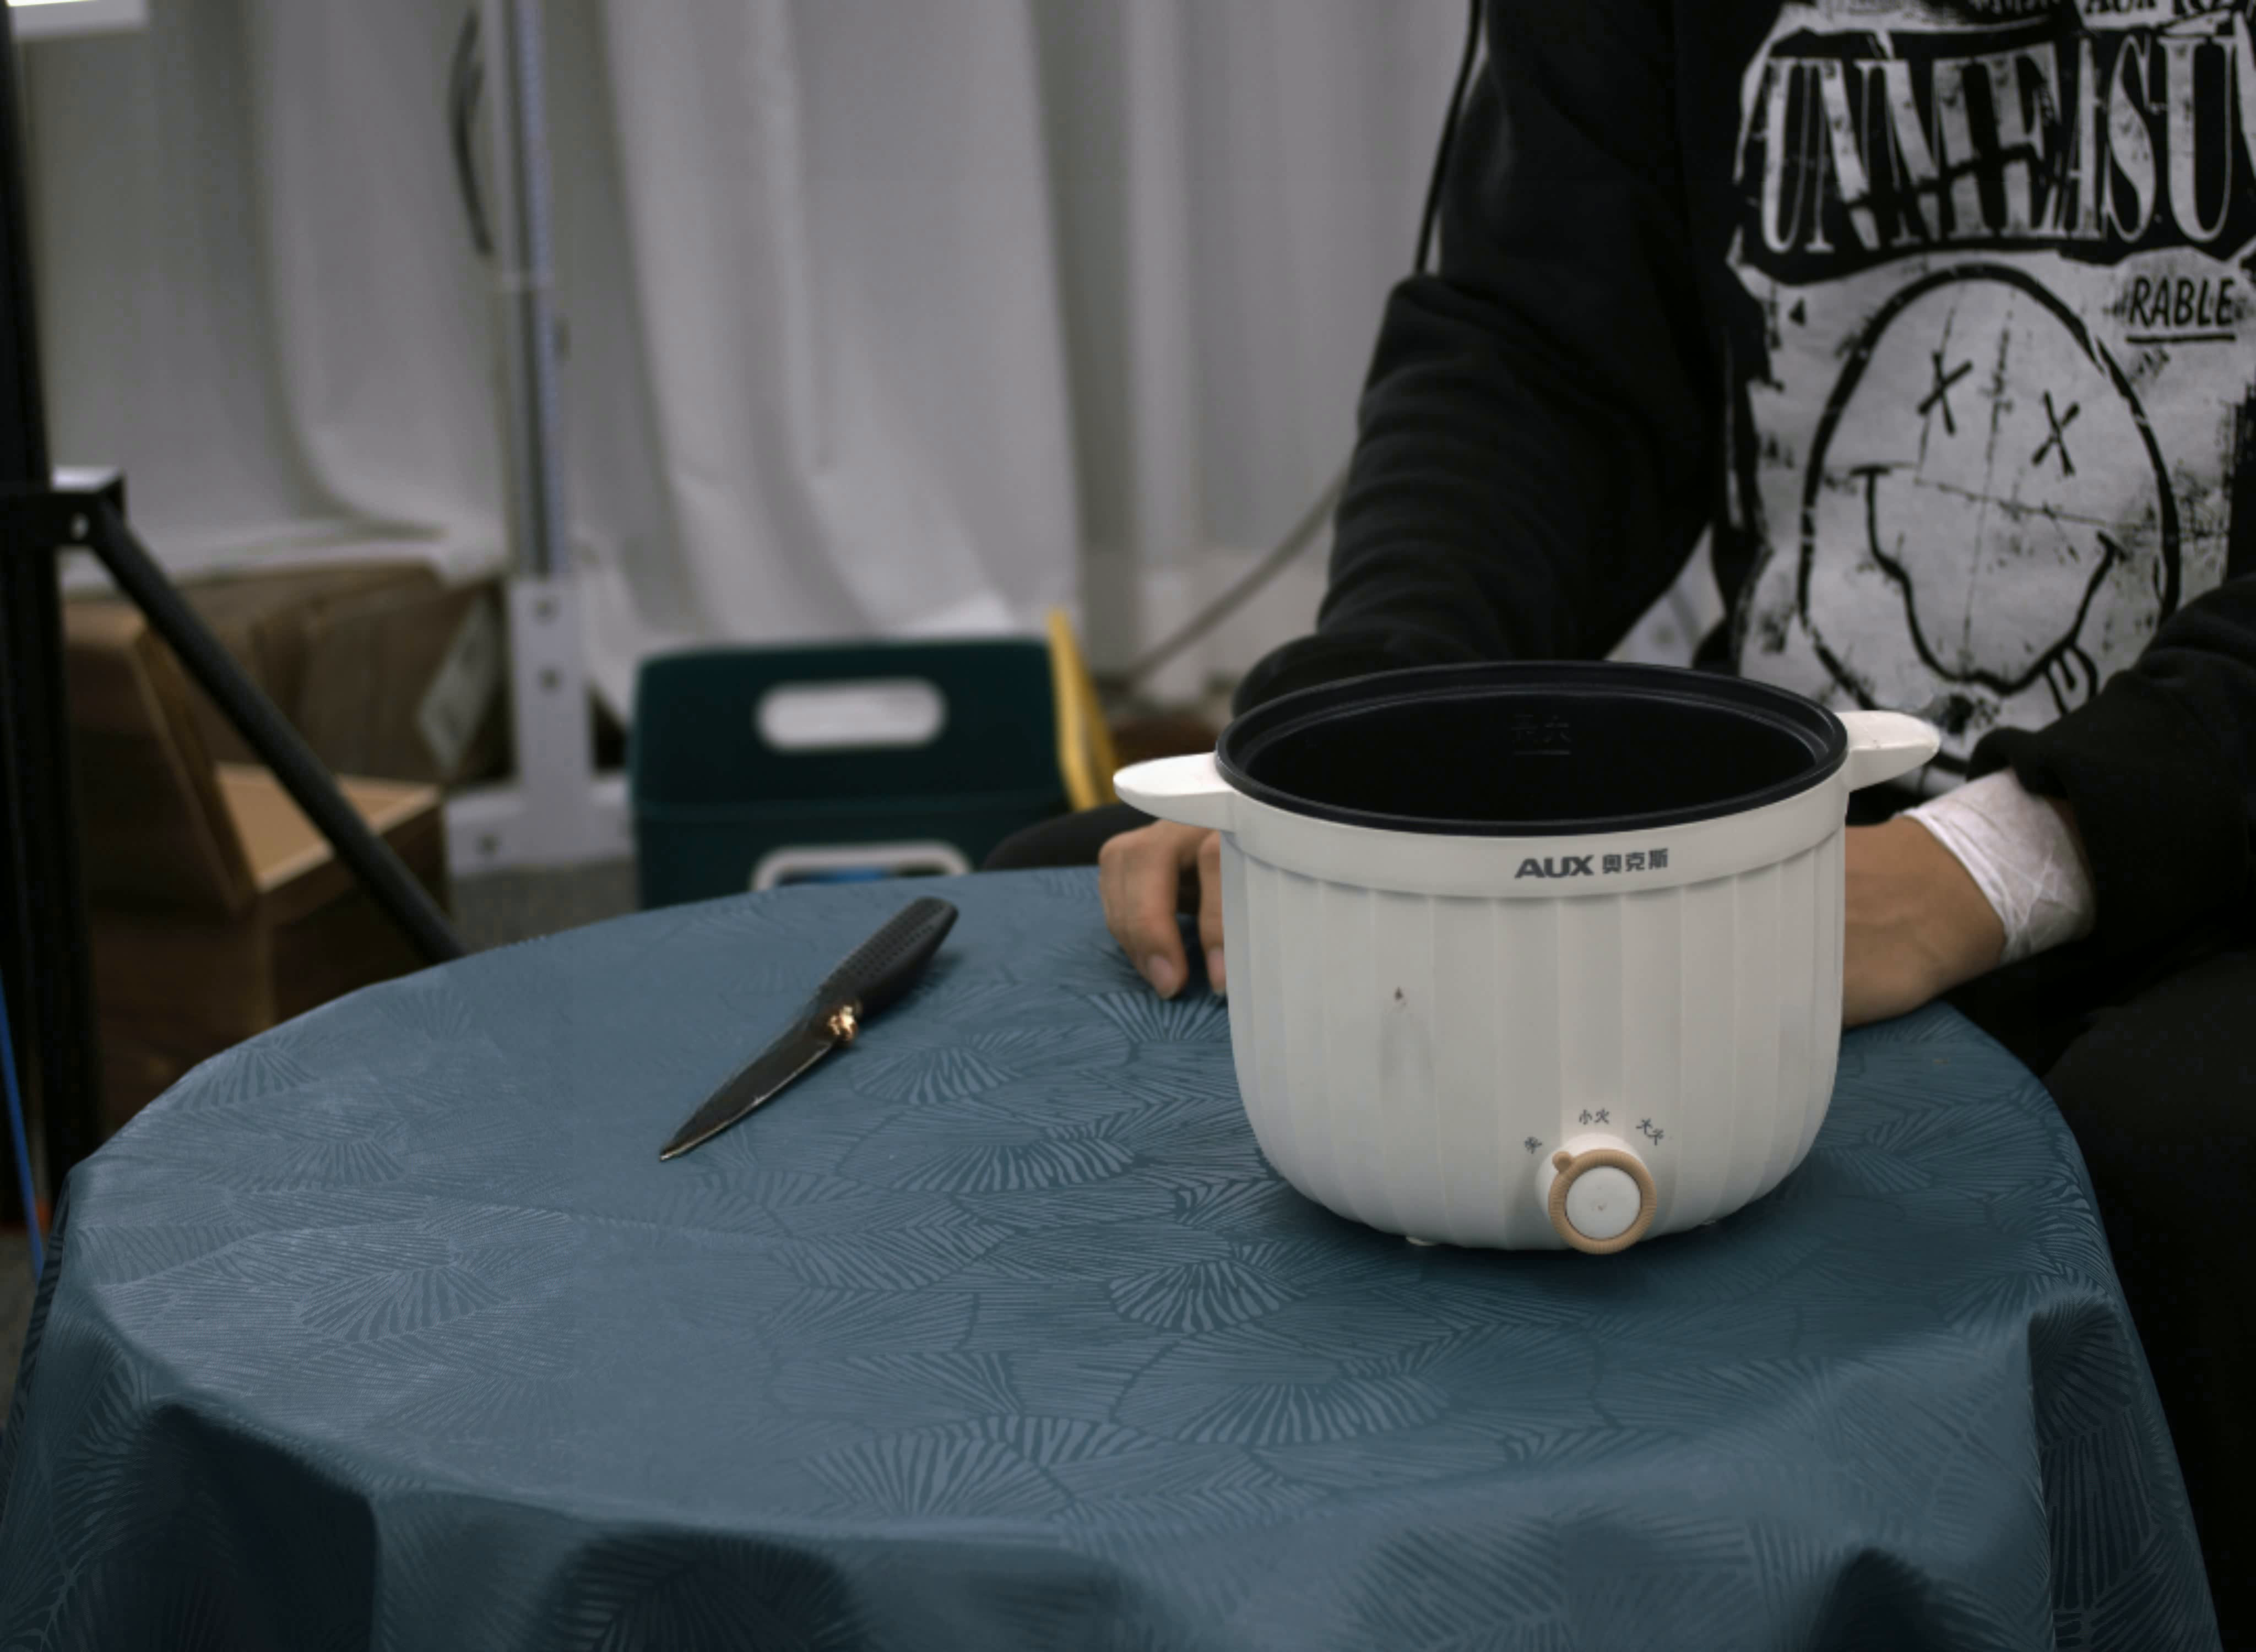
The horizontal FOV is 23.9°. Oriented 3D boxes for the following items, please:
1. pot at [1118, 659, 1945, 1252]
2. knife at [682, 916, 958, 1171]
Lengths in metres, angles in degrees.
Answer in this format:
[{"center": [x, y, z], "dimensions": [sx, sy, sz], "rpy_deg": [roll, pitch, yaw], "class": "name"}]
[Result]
[{"center": [0.120, 0.040, 1.521], "dimensions": [0.238, 0.143, 0.192], "rpy_deg": [-5, 12, -5], "class": "pot"}, {"center": [-0.100, 0.068, 1.697], "dimensions": [0.026, 0.017, 0.223], "rpy_deg": [18, 22, 14], "class": "knife"}]
